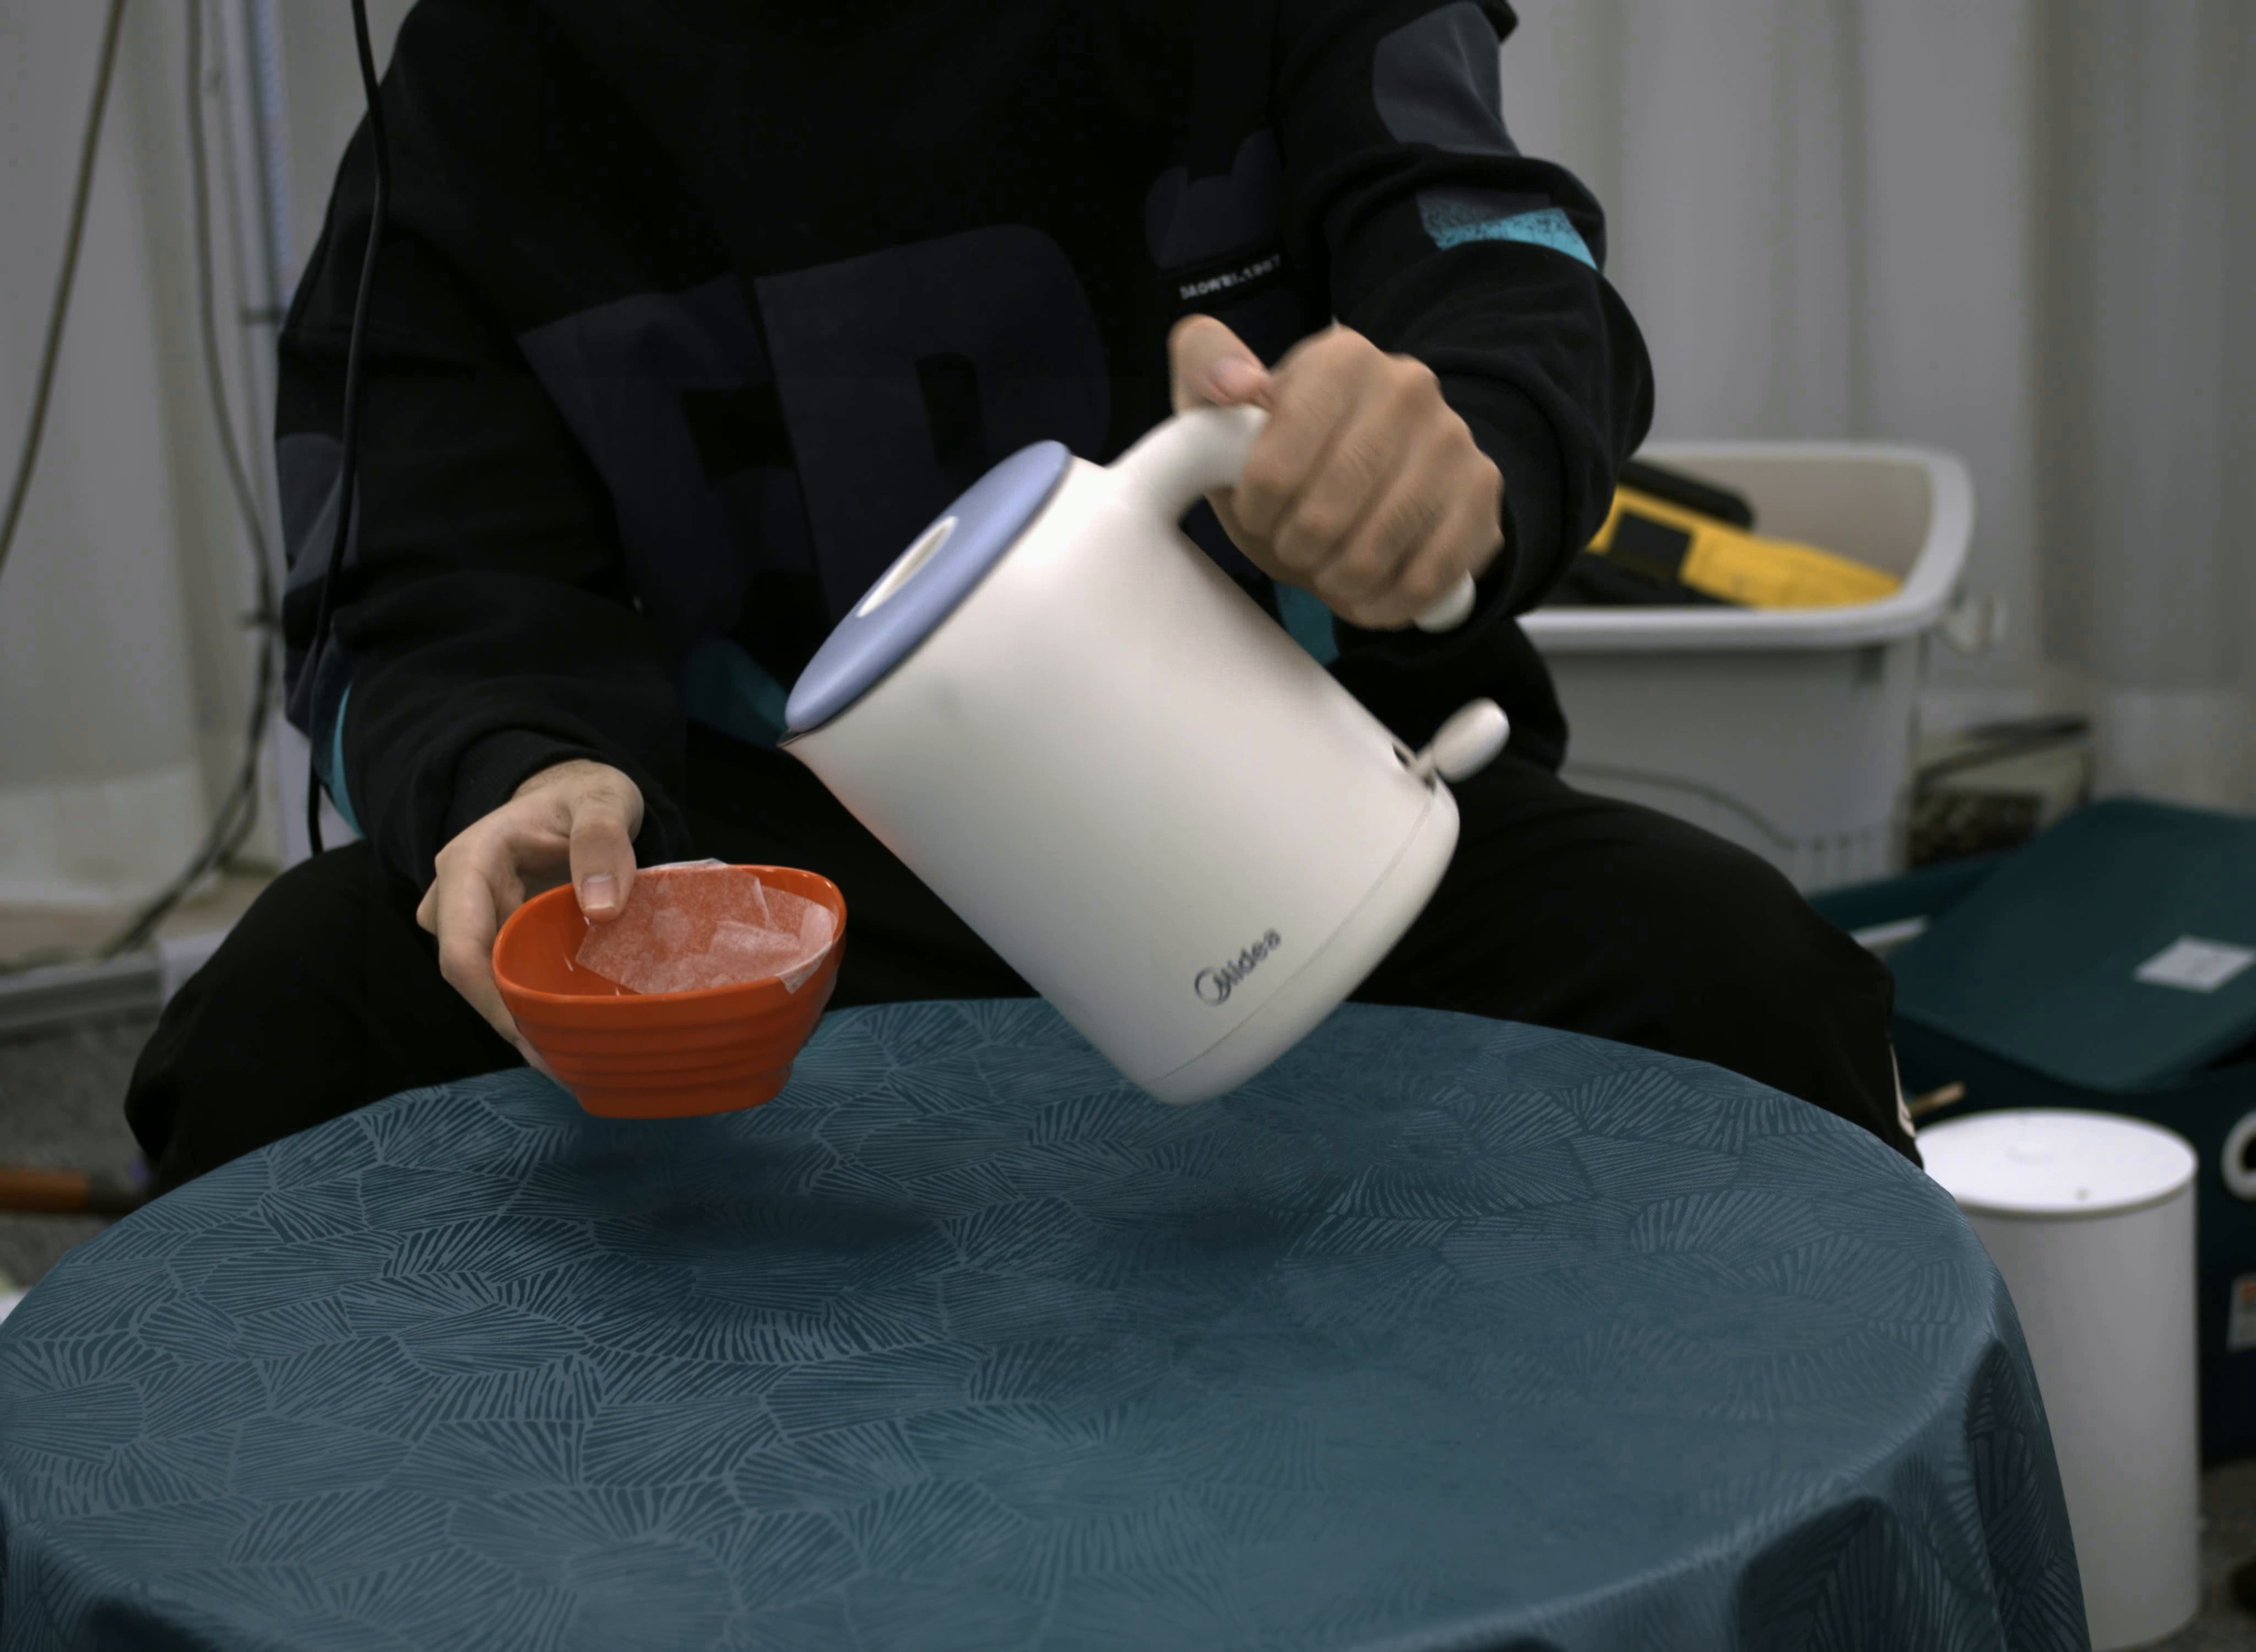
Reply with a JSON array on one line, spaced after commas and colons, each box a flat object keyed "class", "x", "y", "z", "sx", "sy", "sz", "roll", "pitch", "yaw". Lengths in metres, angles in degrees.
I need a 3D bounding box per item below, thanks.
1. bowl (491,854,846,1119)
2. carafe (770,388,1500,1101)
[{"class": "bowl", "x": -0.139, "y": 0.053, "z": 1.698, "sx": 0.118, "sy": 0.051, "sz": 0.120, "roll": -6, "pitch": 22, "yaw": 2}, {"class": "carafe", "x": 0.014, "y": -0.035, "z": 1.647, "sx": 0.190, "sy": 0.181, "sz": 0.133, "roll": -43, "pitch": 11, "yaw": 13}]
